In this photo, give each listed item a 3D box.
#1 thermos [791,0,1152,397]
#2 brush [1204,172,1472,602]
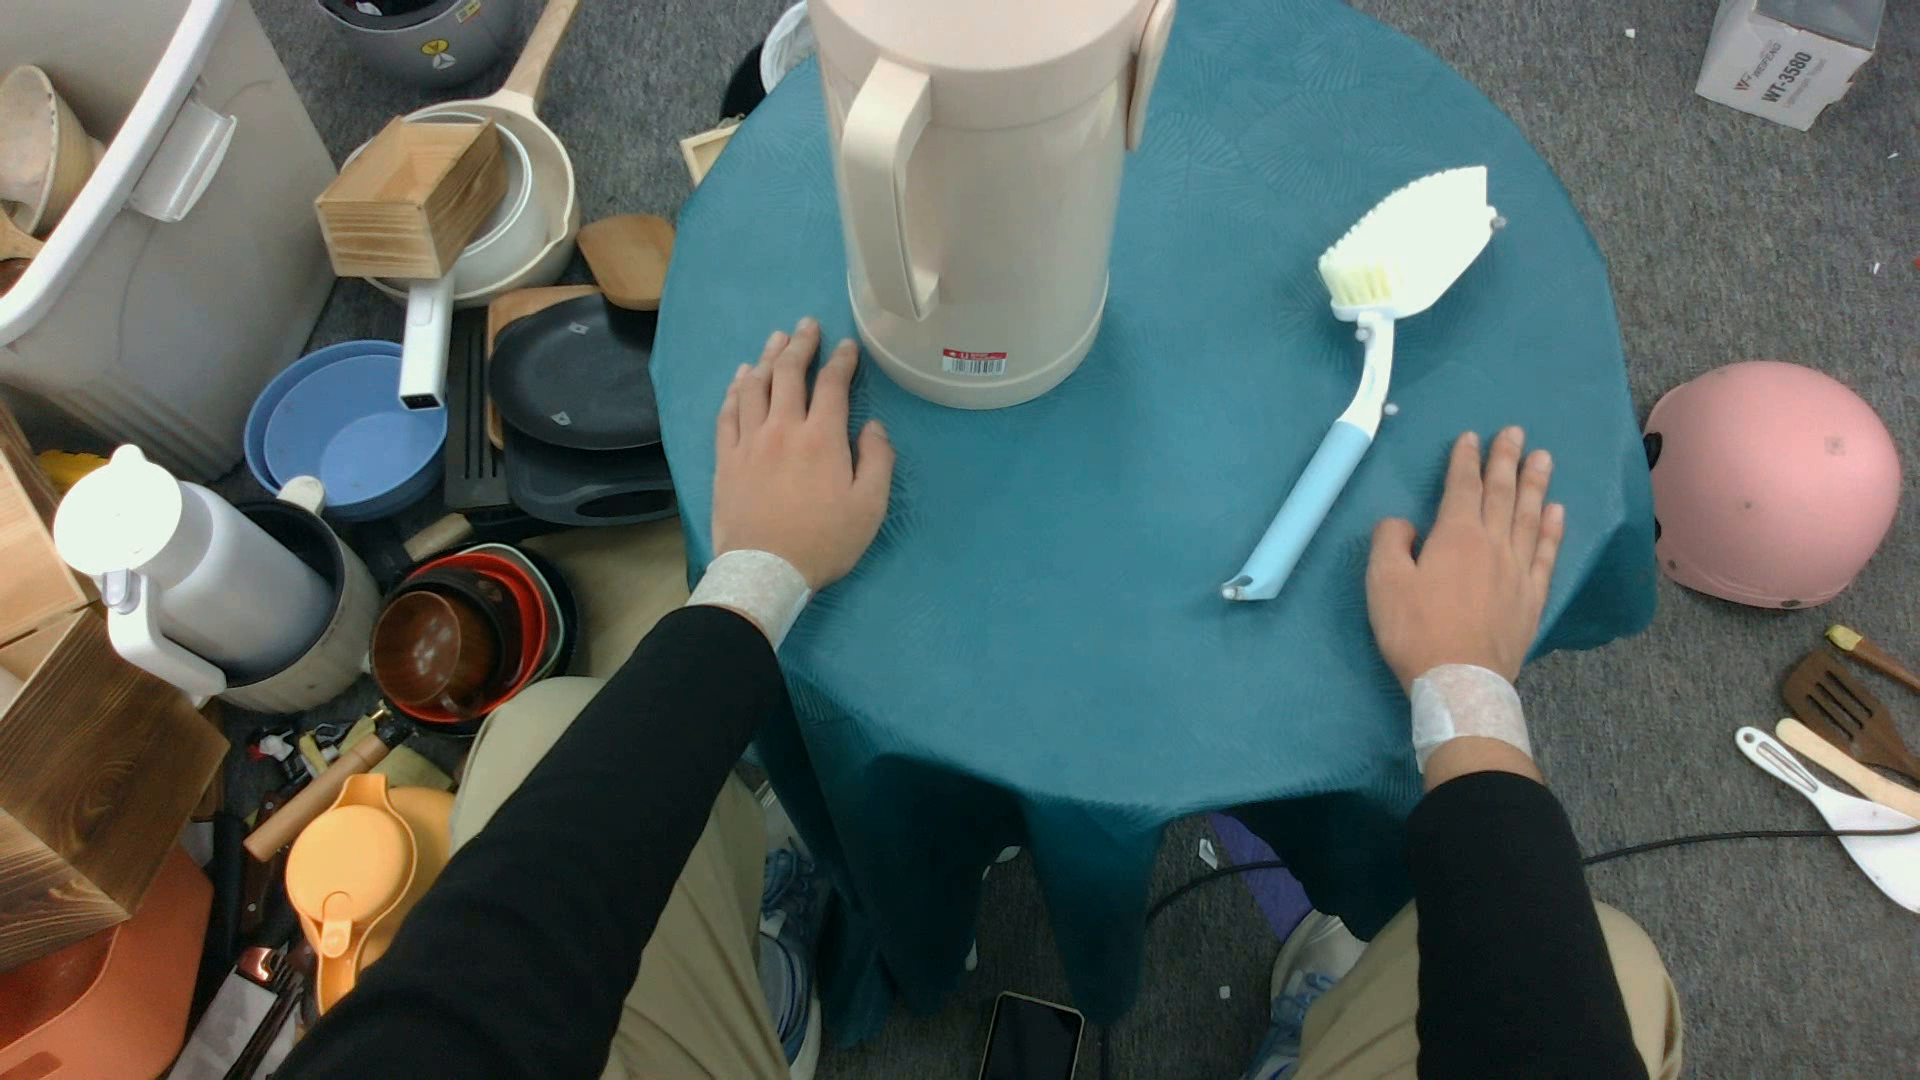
[{"bbox_3d":[-0.008,-0.219,0.677,0.175,0.405,0.208,22,69,7],"label":"thermos"},{"bbox_3d":[0.214,-0.108,0.803,0.084,0.083,0.326,33,70,6],"label":"brush"}]
